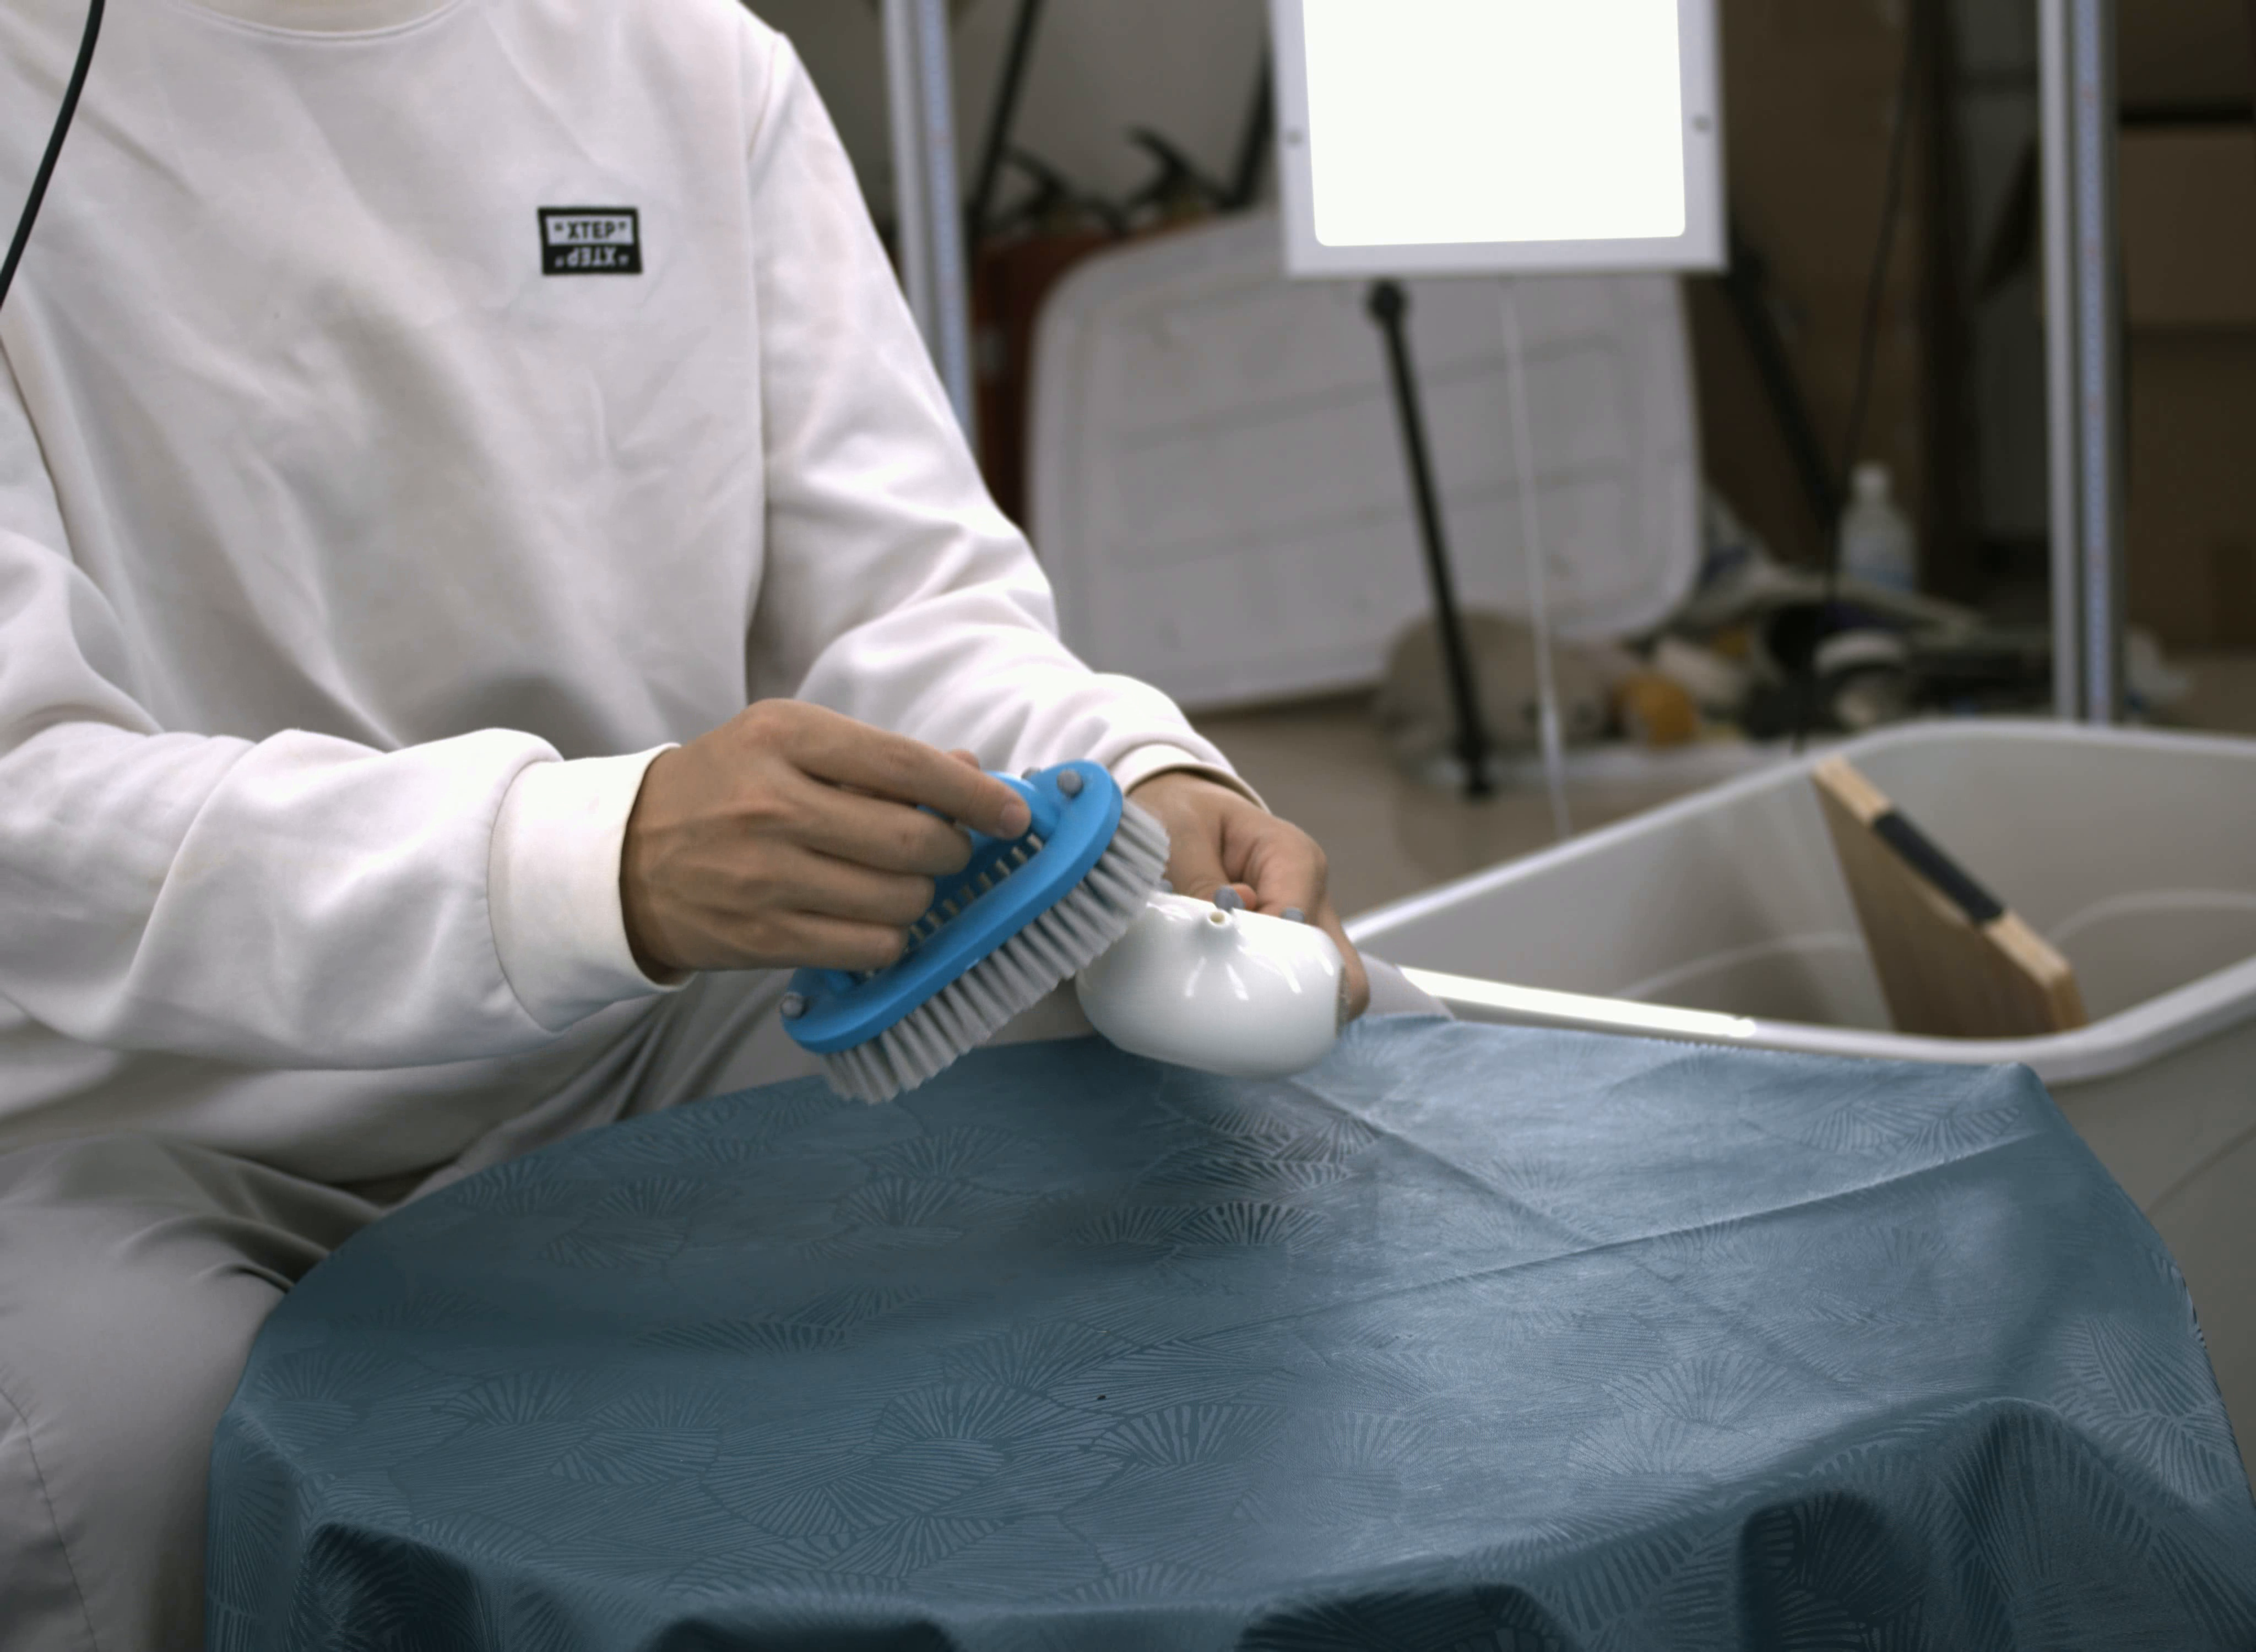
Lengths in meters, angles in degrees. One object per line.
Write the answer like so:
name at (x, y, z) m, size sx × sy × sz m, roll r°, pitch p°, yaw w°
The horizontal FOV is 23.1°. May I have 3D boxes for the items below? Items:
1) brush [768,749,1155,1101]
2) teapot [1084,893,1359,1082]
brush at (-0.062, 0.025, 1.802) m, size 0.143 × 0.063 × 0.084 m, roll -36°, pitch 31°, yaw 12°
teapot at (0.032, 0.055, 1.867) m, size 0.093 × 0.057 × 0.127 m, roll 8°, pitch -1°, yaw 1°
